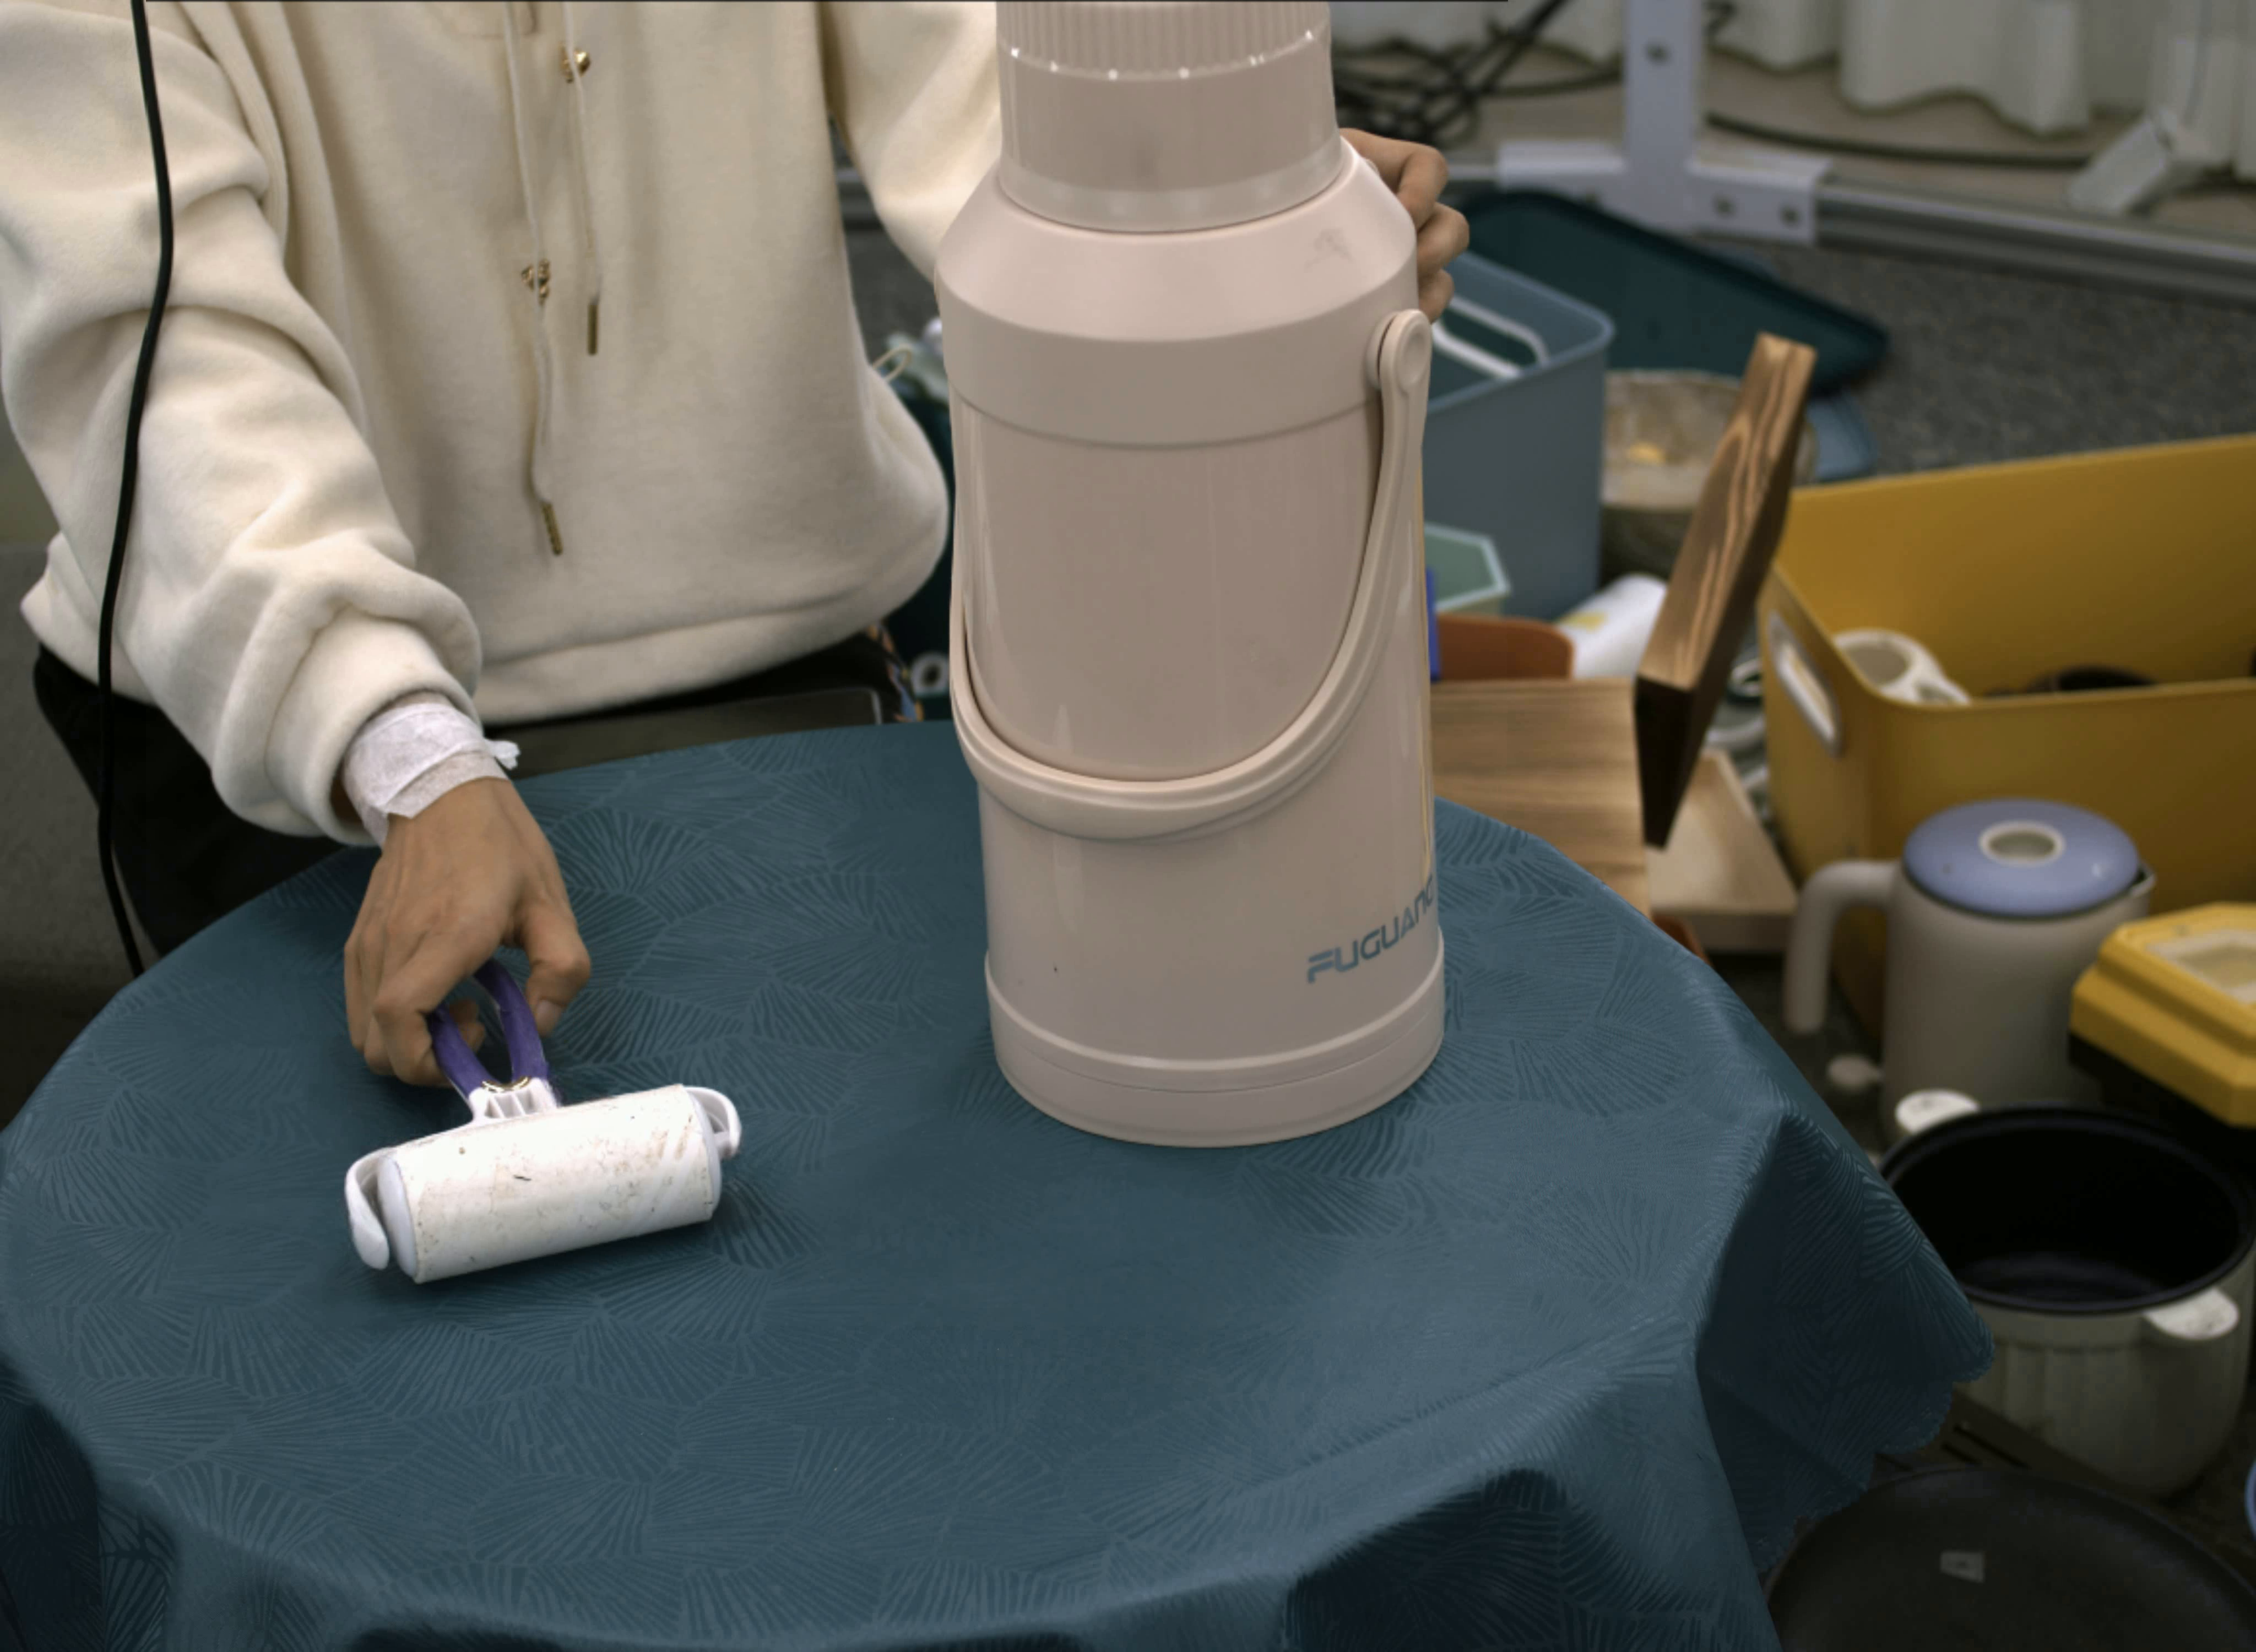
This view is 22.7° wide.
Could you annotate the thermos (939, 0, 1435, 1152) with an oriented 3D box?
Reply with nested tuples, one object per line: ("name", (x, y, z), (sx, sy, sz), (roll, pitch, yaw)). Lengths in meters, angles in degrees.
("thermos", (0.028, -0.108, 1.877), (0.174, 0.402, 0.210), (12, 30, 29))

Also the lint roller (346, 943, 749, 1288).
("lint roller", (-0.207, 0.081, 1.889), (0.133, 0.049, 0.183), (-11, 38, -13))
